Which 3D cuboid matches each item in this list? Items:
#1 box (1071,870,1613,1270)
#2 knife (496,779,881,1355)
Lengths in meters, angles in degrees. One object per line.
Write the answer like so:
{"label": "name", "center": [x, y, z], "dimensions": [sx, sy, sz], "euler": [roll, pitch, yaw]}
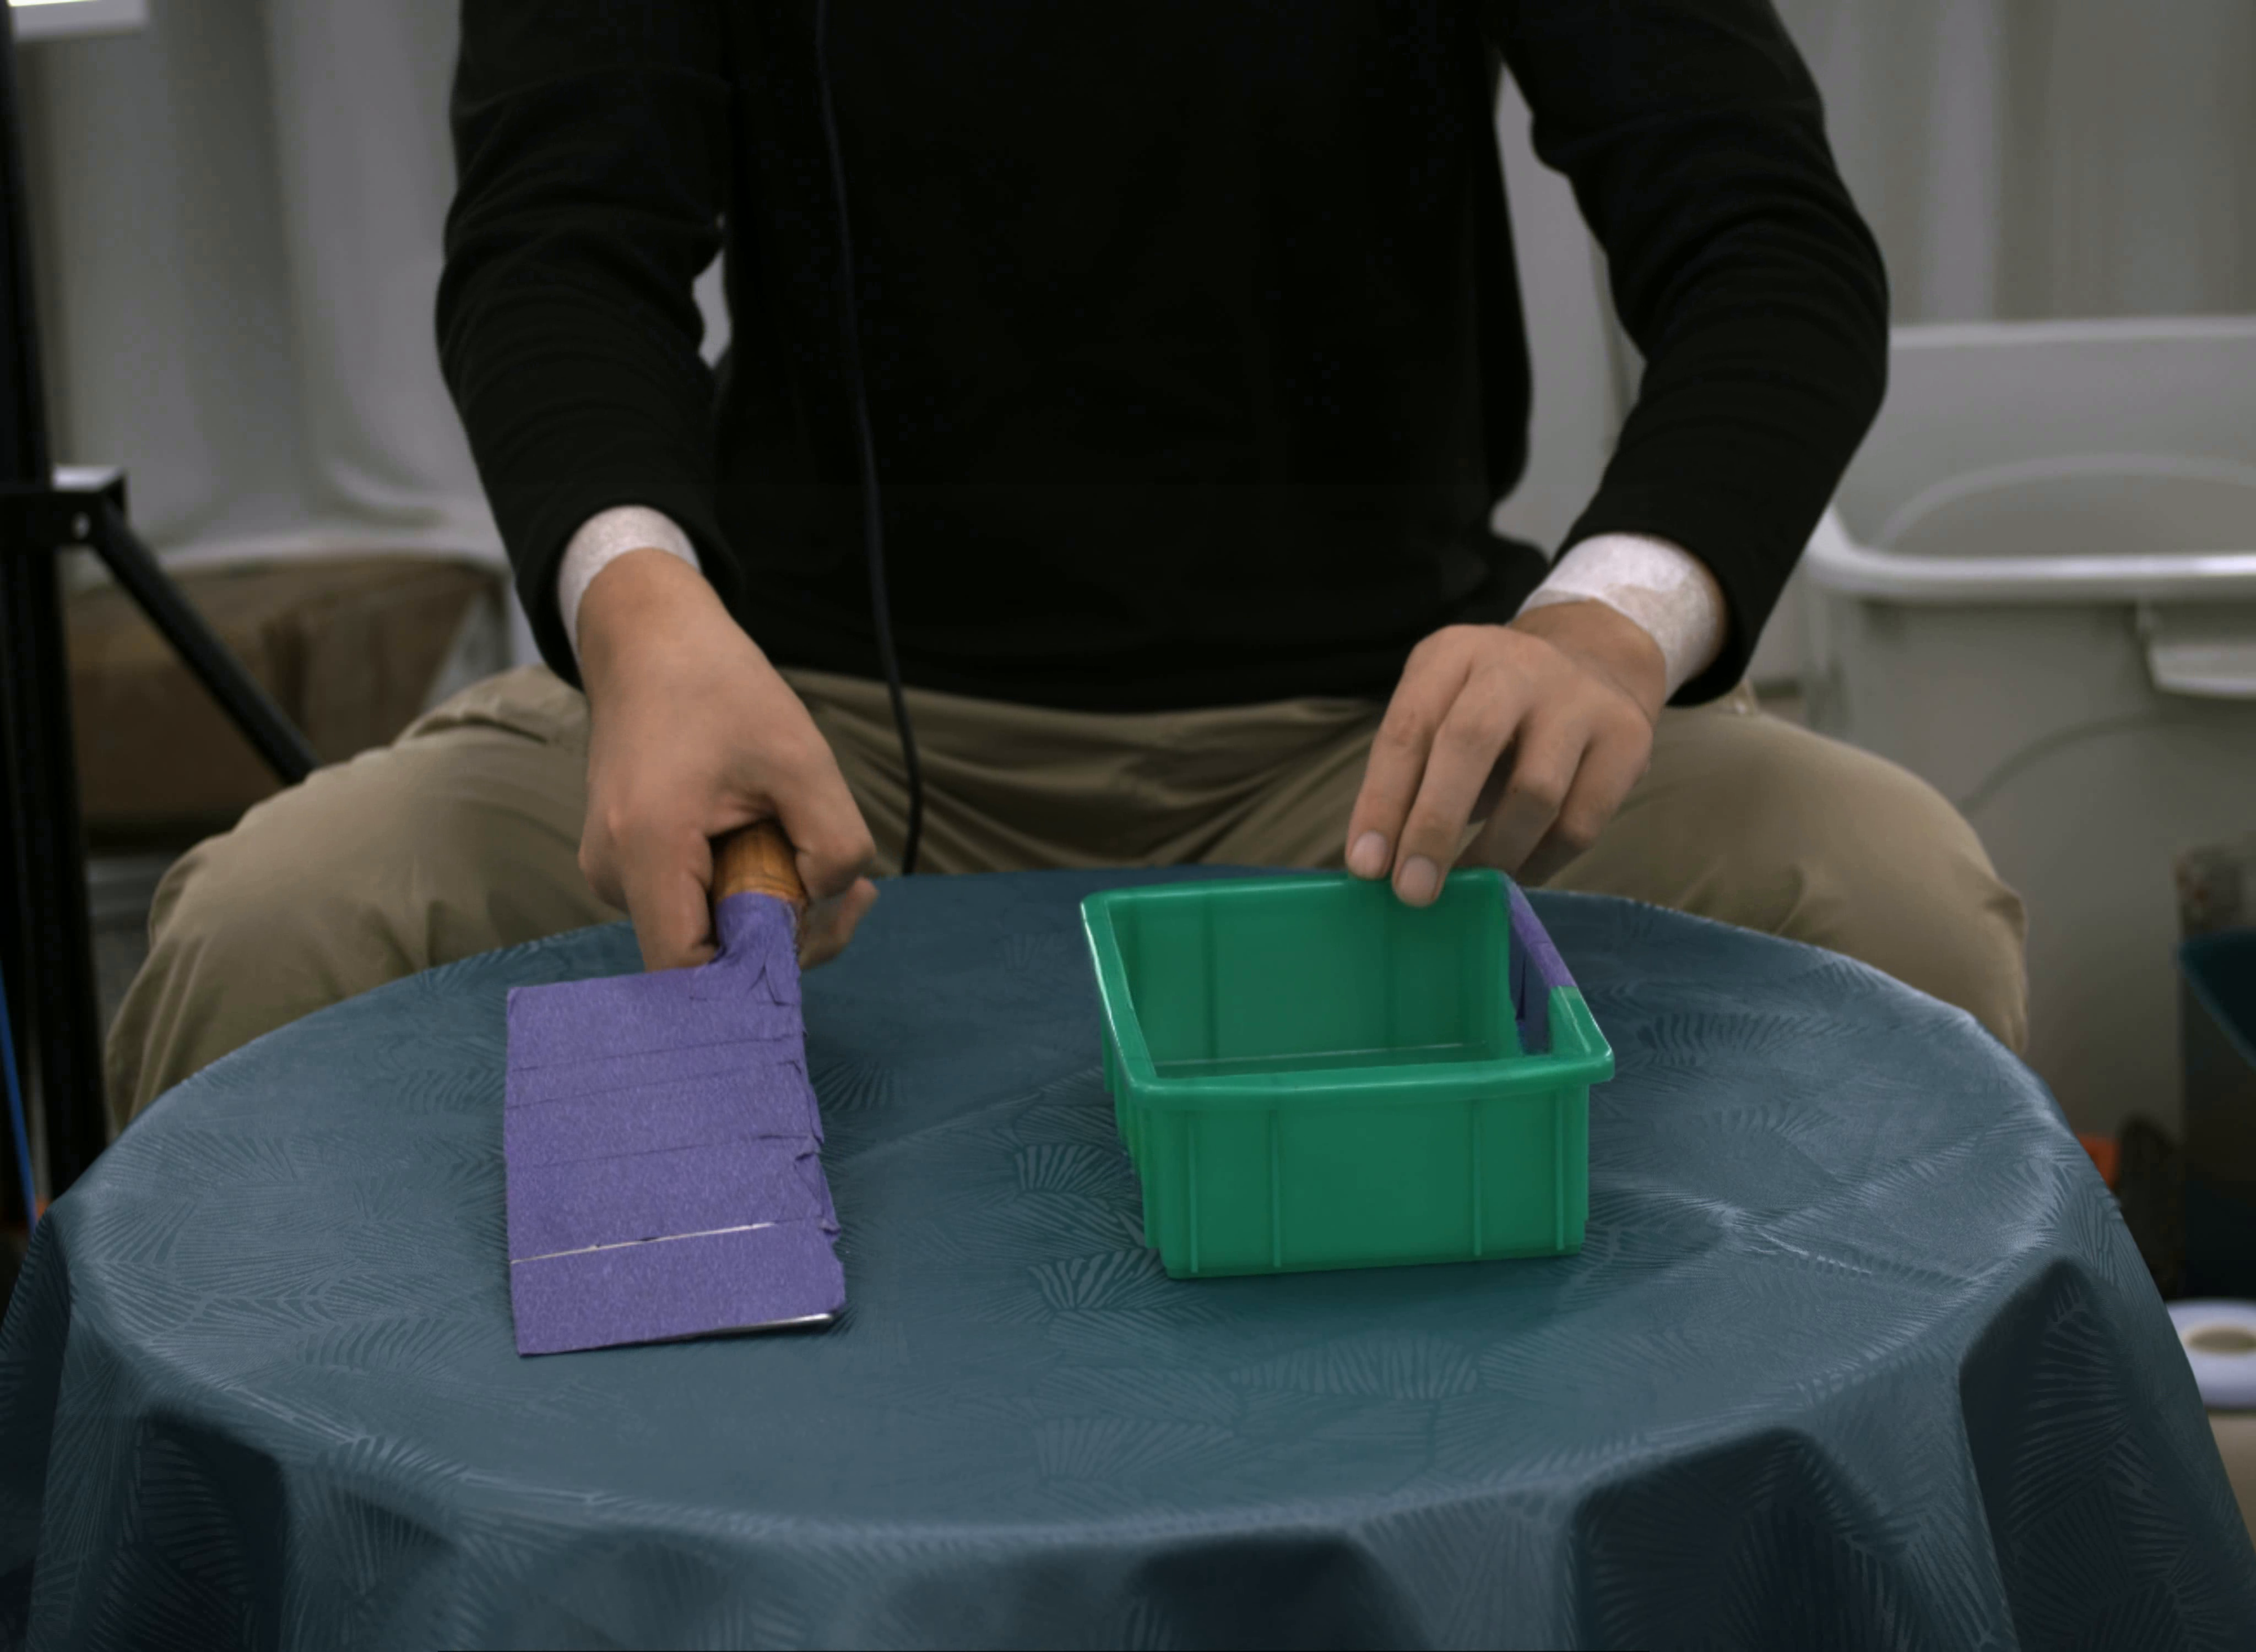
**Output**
{"label": "box", "center": [0.060, 0.071, 1.565], "dimensions": [0.137, 0.065, 0.212], "euler": [-2, 14, -5]}
{"label": "knife", "center": [-0.137, 0.066, 1.591], "dimensions": [0.103, 0.032, 0.319], "euler": [-6, 25, -5]}
